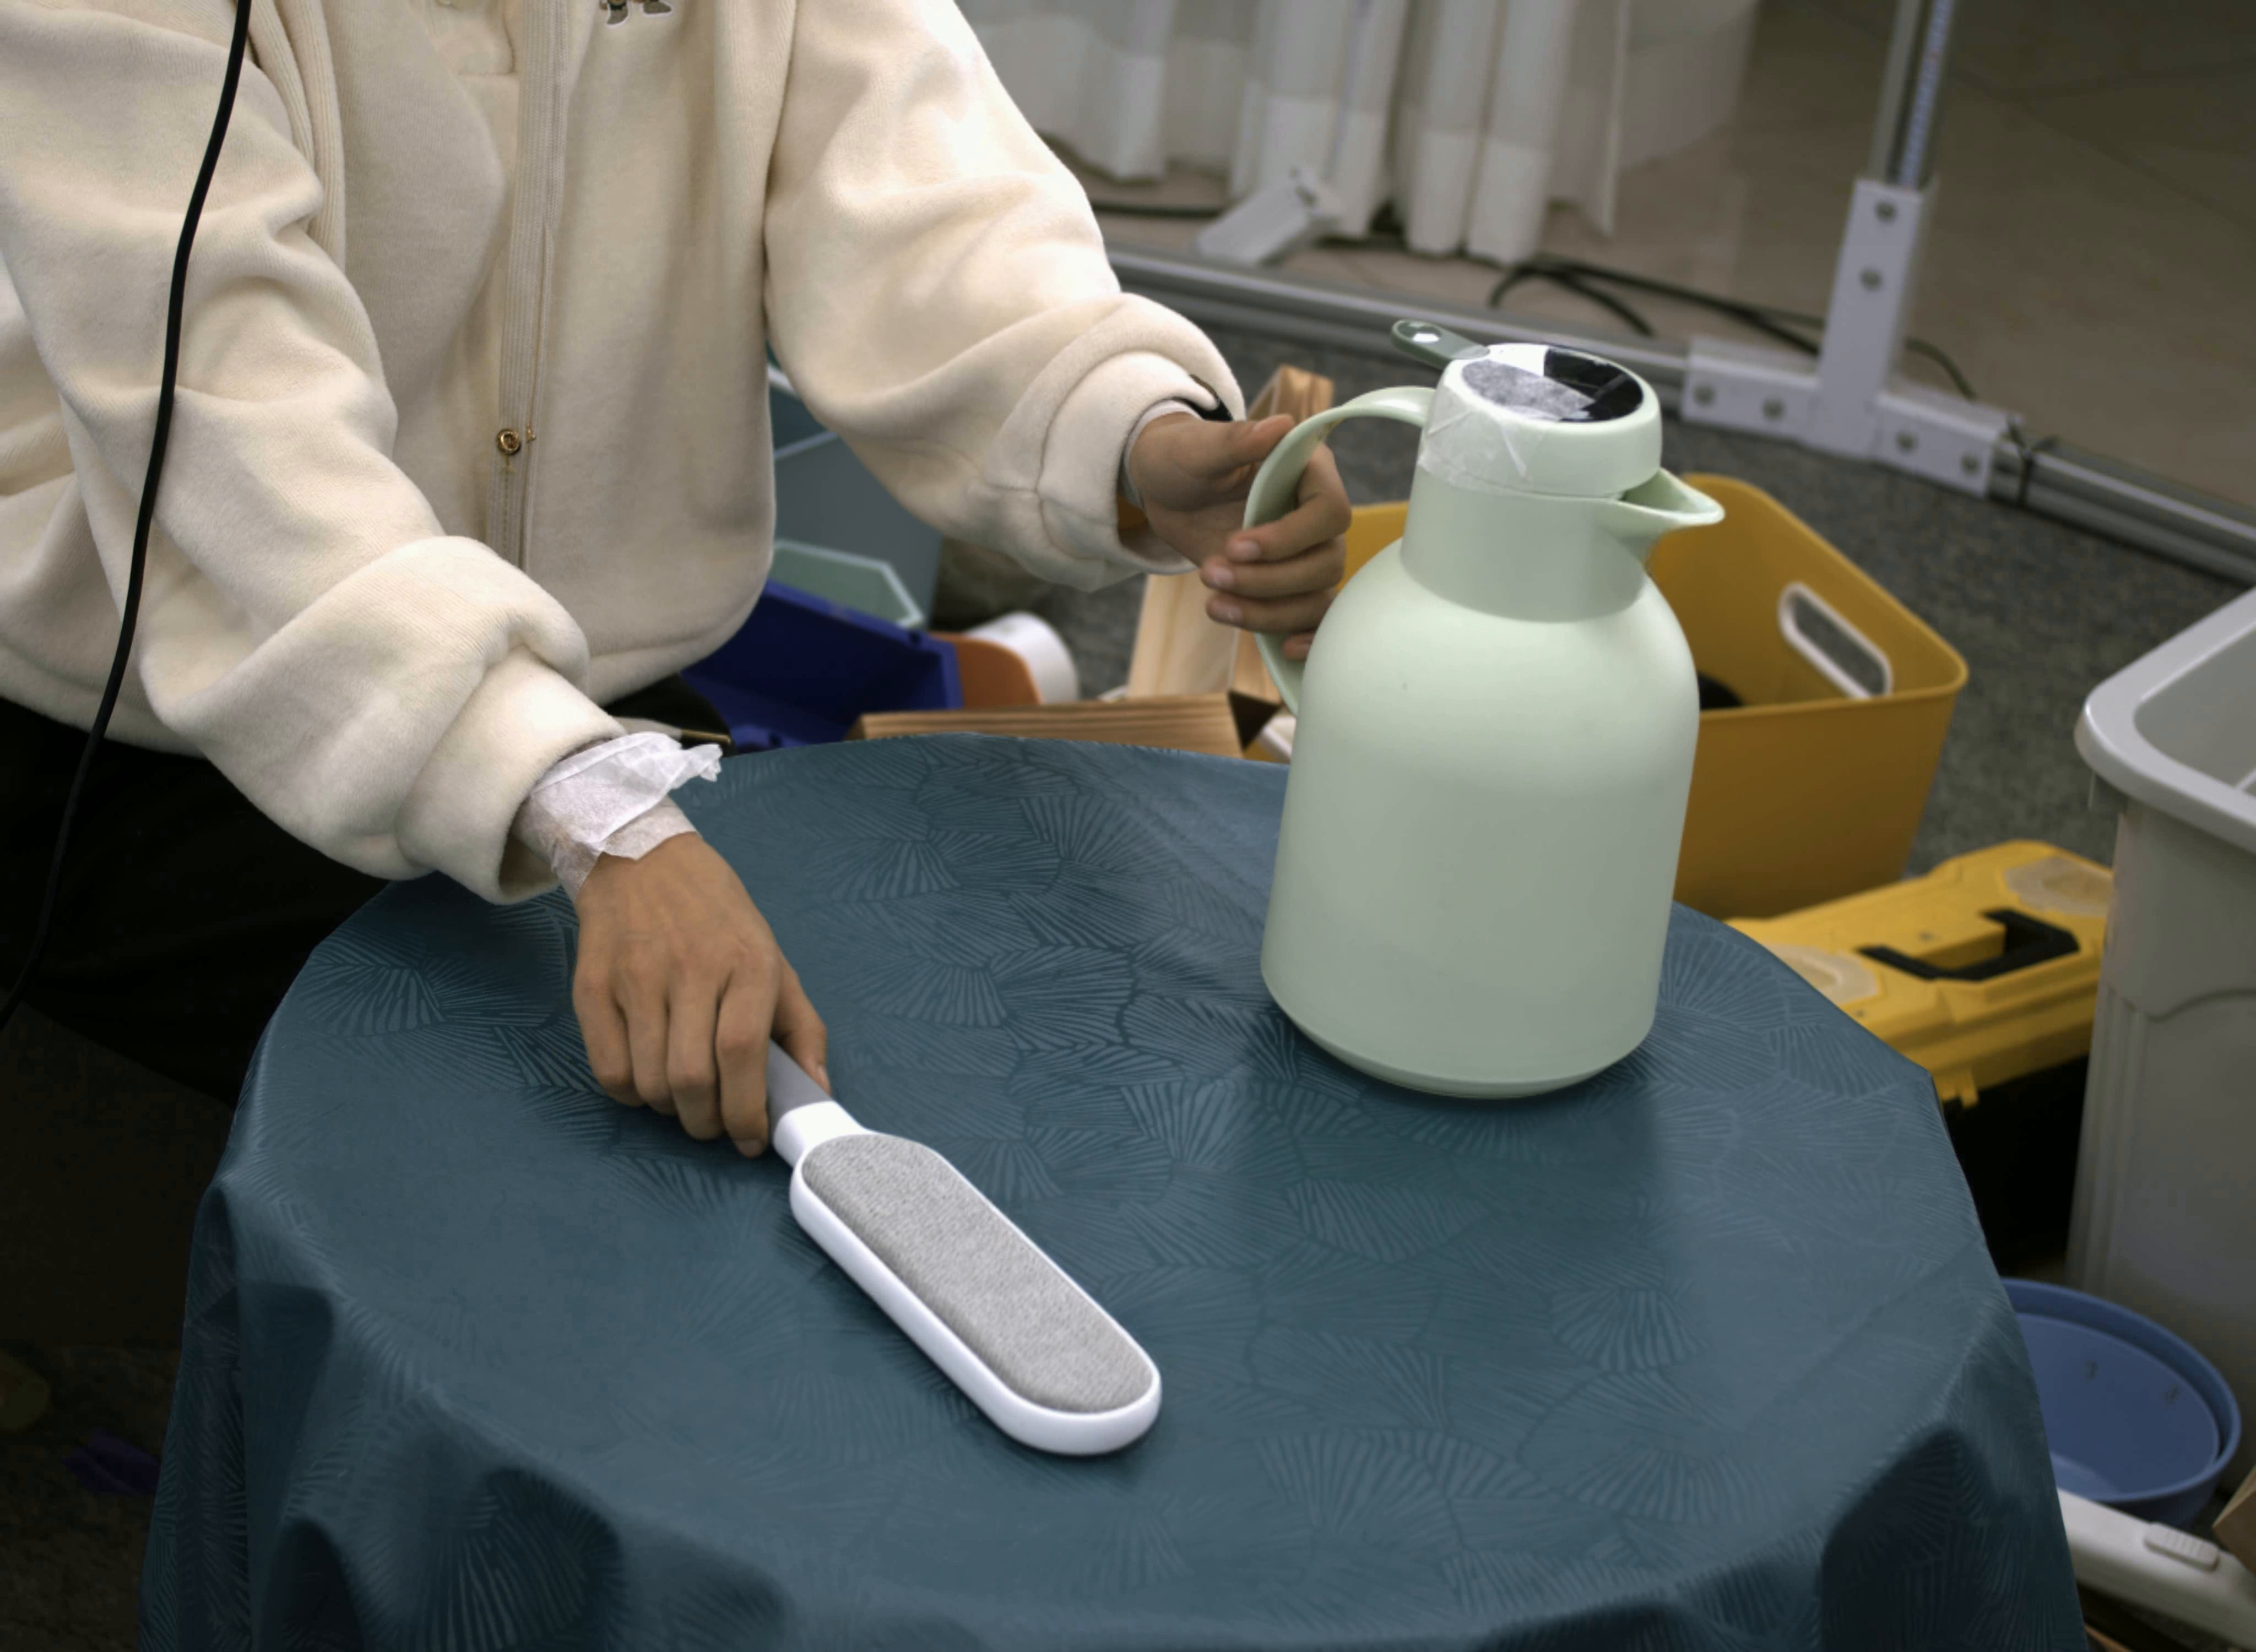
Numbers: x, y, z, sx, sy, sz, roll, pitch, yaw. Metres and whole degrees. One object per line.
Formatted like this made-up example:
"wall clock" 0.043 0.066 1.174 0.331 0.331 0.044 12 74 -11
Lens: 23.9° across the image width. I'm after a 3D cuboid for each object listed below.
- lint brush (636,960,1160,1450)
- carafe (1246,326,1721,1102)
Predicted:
"lint brush" -0.083 0.120 1.762 0.060 0.021 0.312 -13 33 -30
"carafe" 0.121 -0.046 1.887 0.188 0.256 0.144 21 31 34
